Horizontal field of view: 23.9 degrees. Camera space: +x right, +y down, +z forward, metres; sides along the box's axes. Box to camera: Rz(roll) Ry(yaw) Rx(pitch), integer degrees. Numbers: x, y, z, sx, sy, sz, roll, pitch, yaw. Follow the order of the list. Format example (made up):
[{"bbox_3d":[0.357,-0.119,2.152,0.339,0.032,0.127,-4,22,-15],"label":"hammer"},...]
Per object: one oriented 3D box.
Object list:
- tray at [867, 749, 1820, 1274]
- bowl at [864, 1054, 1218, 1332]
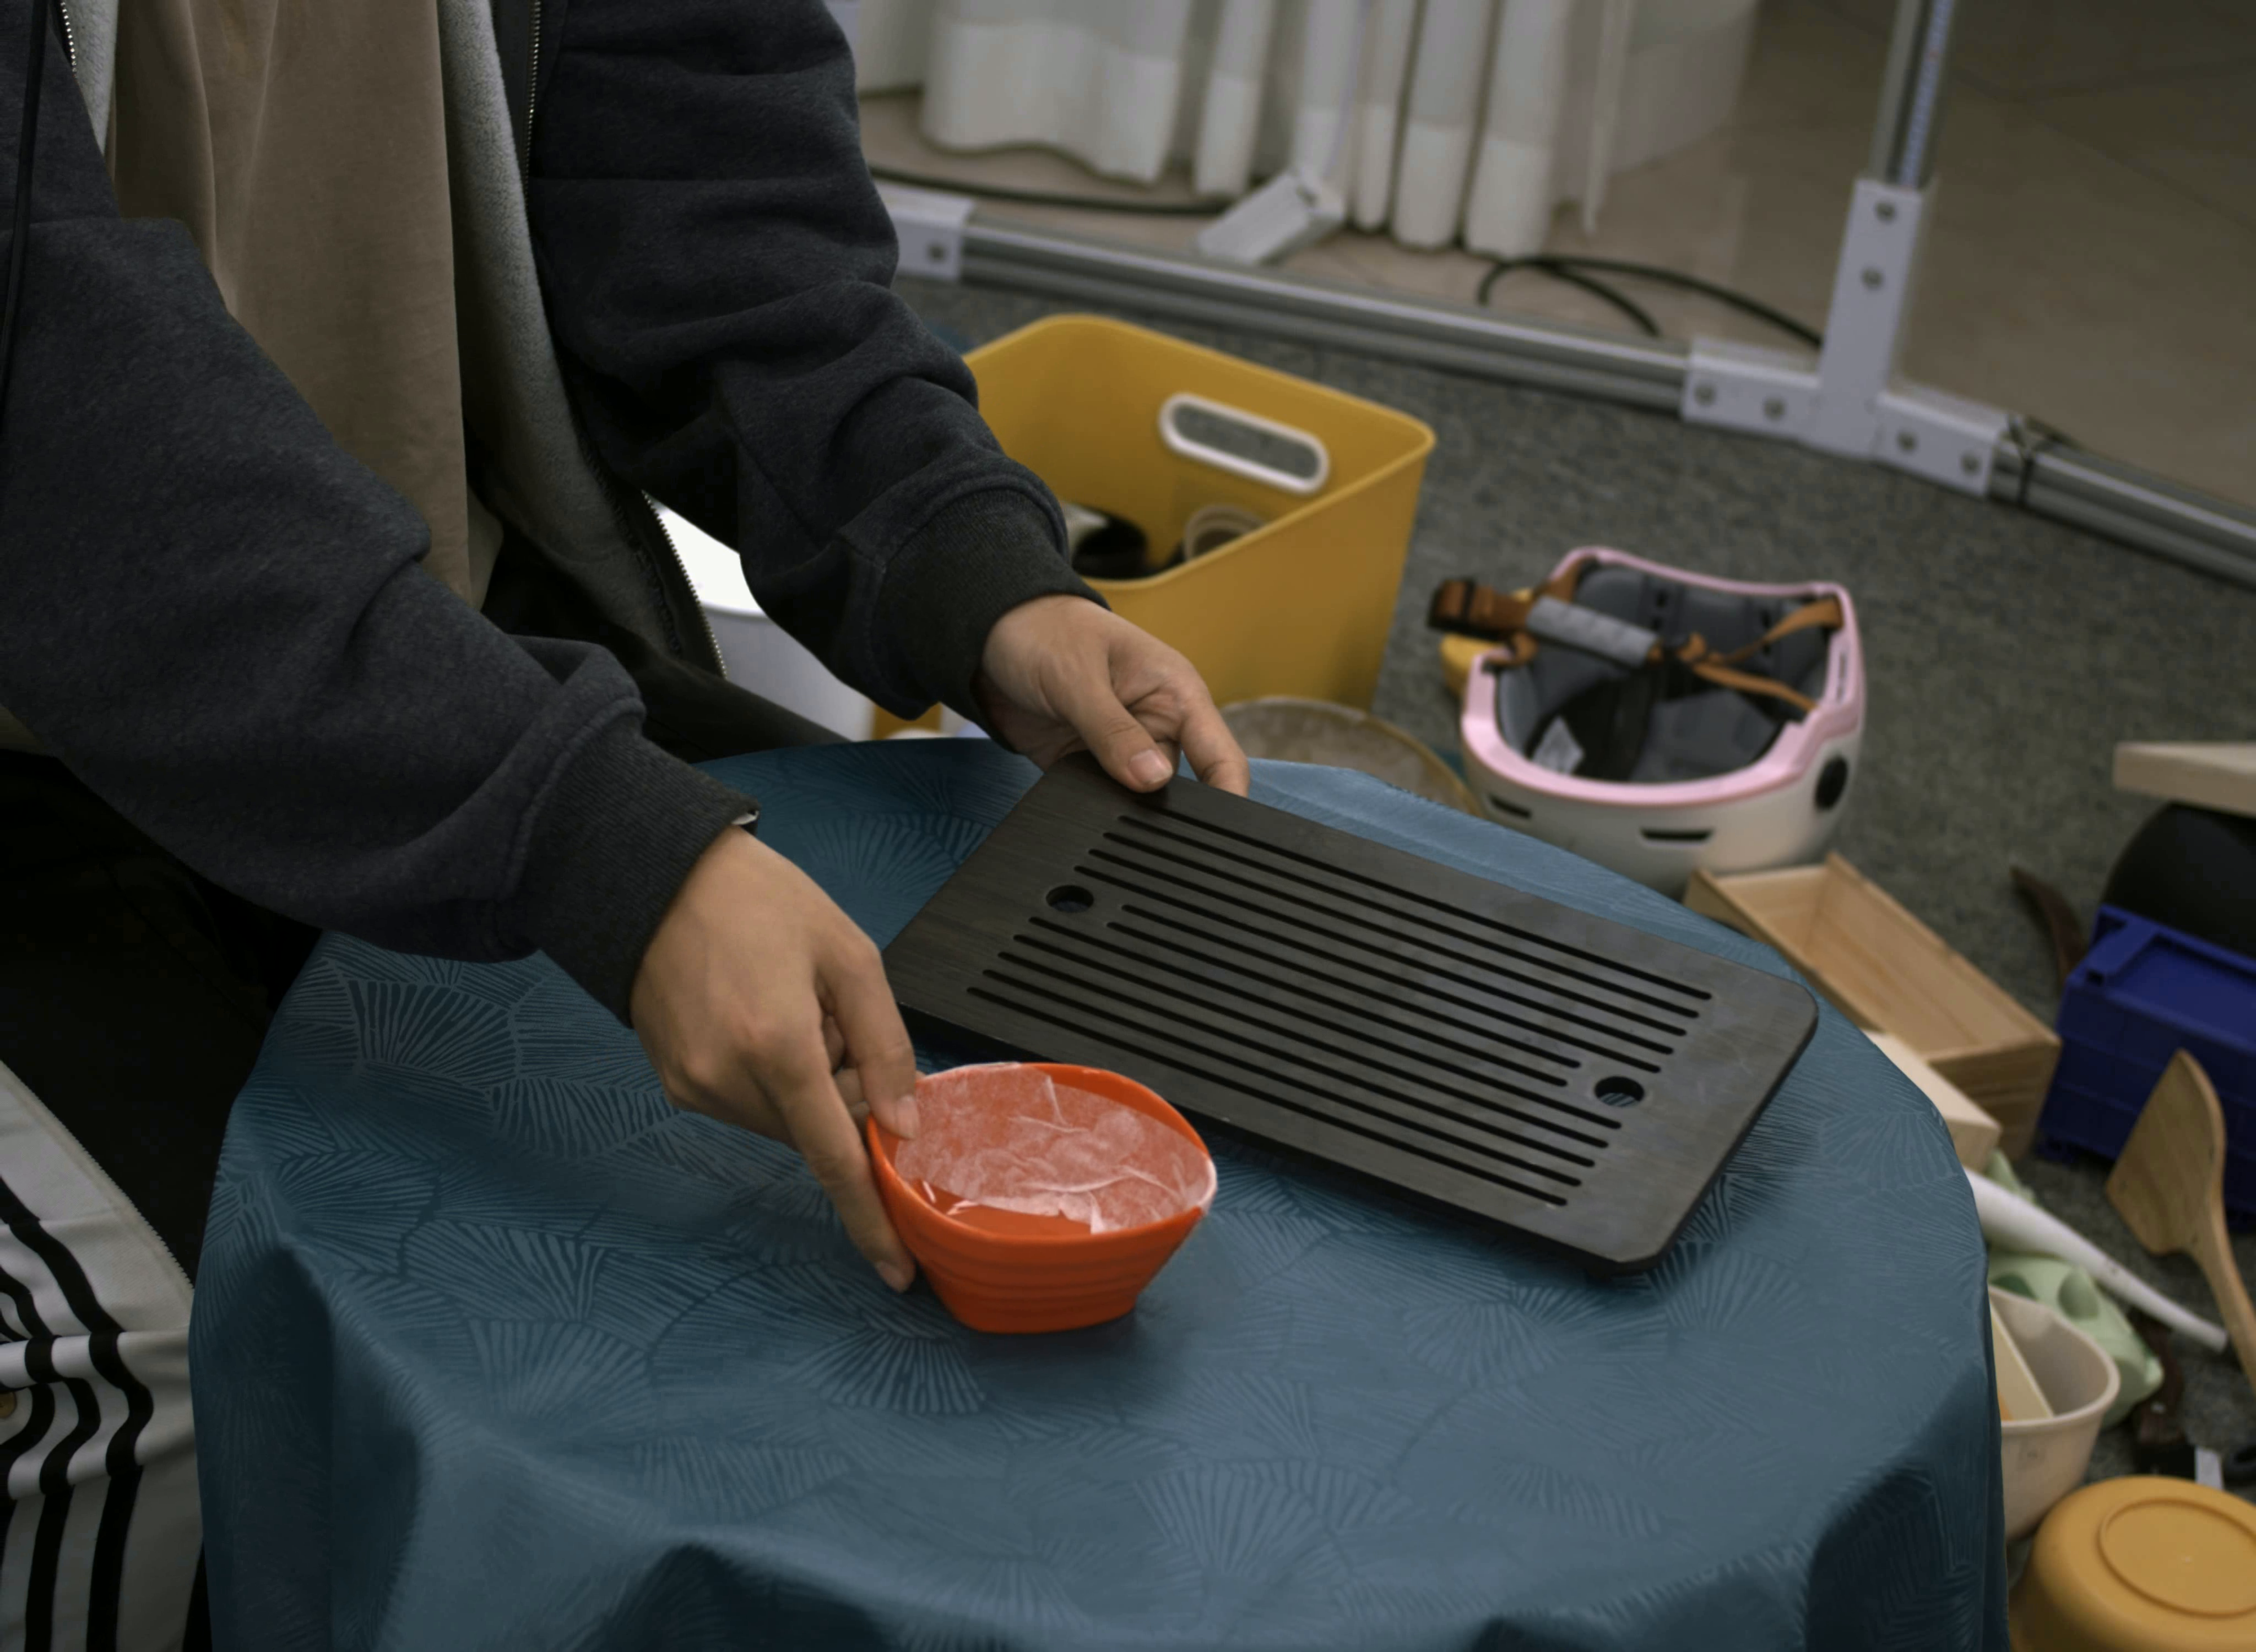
[{"bbox_3d":[0.076,0.063,1.882,0.307,0.018,0.170,18,40,21],"label":"tray"},{"bbox_3d":[-0.031,0.124,1.733,0.118,0.051,0.119,5,28,-3],"label":"bowl"}]
